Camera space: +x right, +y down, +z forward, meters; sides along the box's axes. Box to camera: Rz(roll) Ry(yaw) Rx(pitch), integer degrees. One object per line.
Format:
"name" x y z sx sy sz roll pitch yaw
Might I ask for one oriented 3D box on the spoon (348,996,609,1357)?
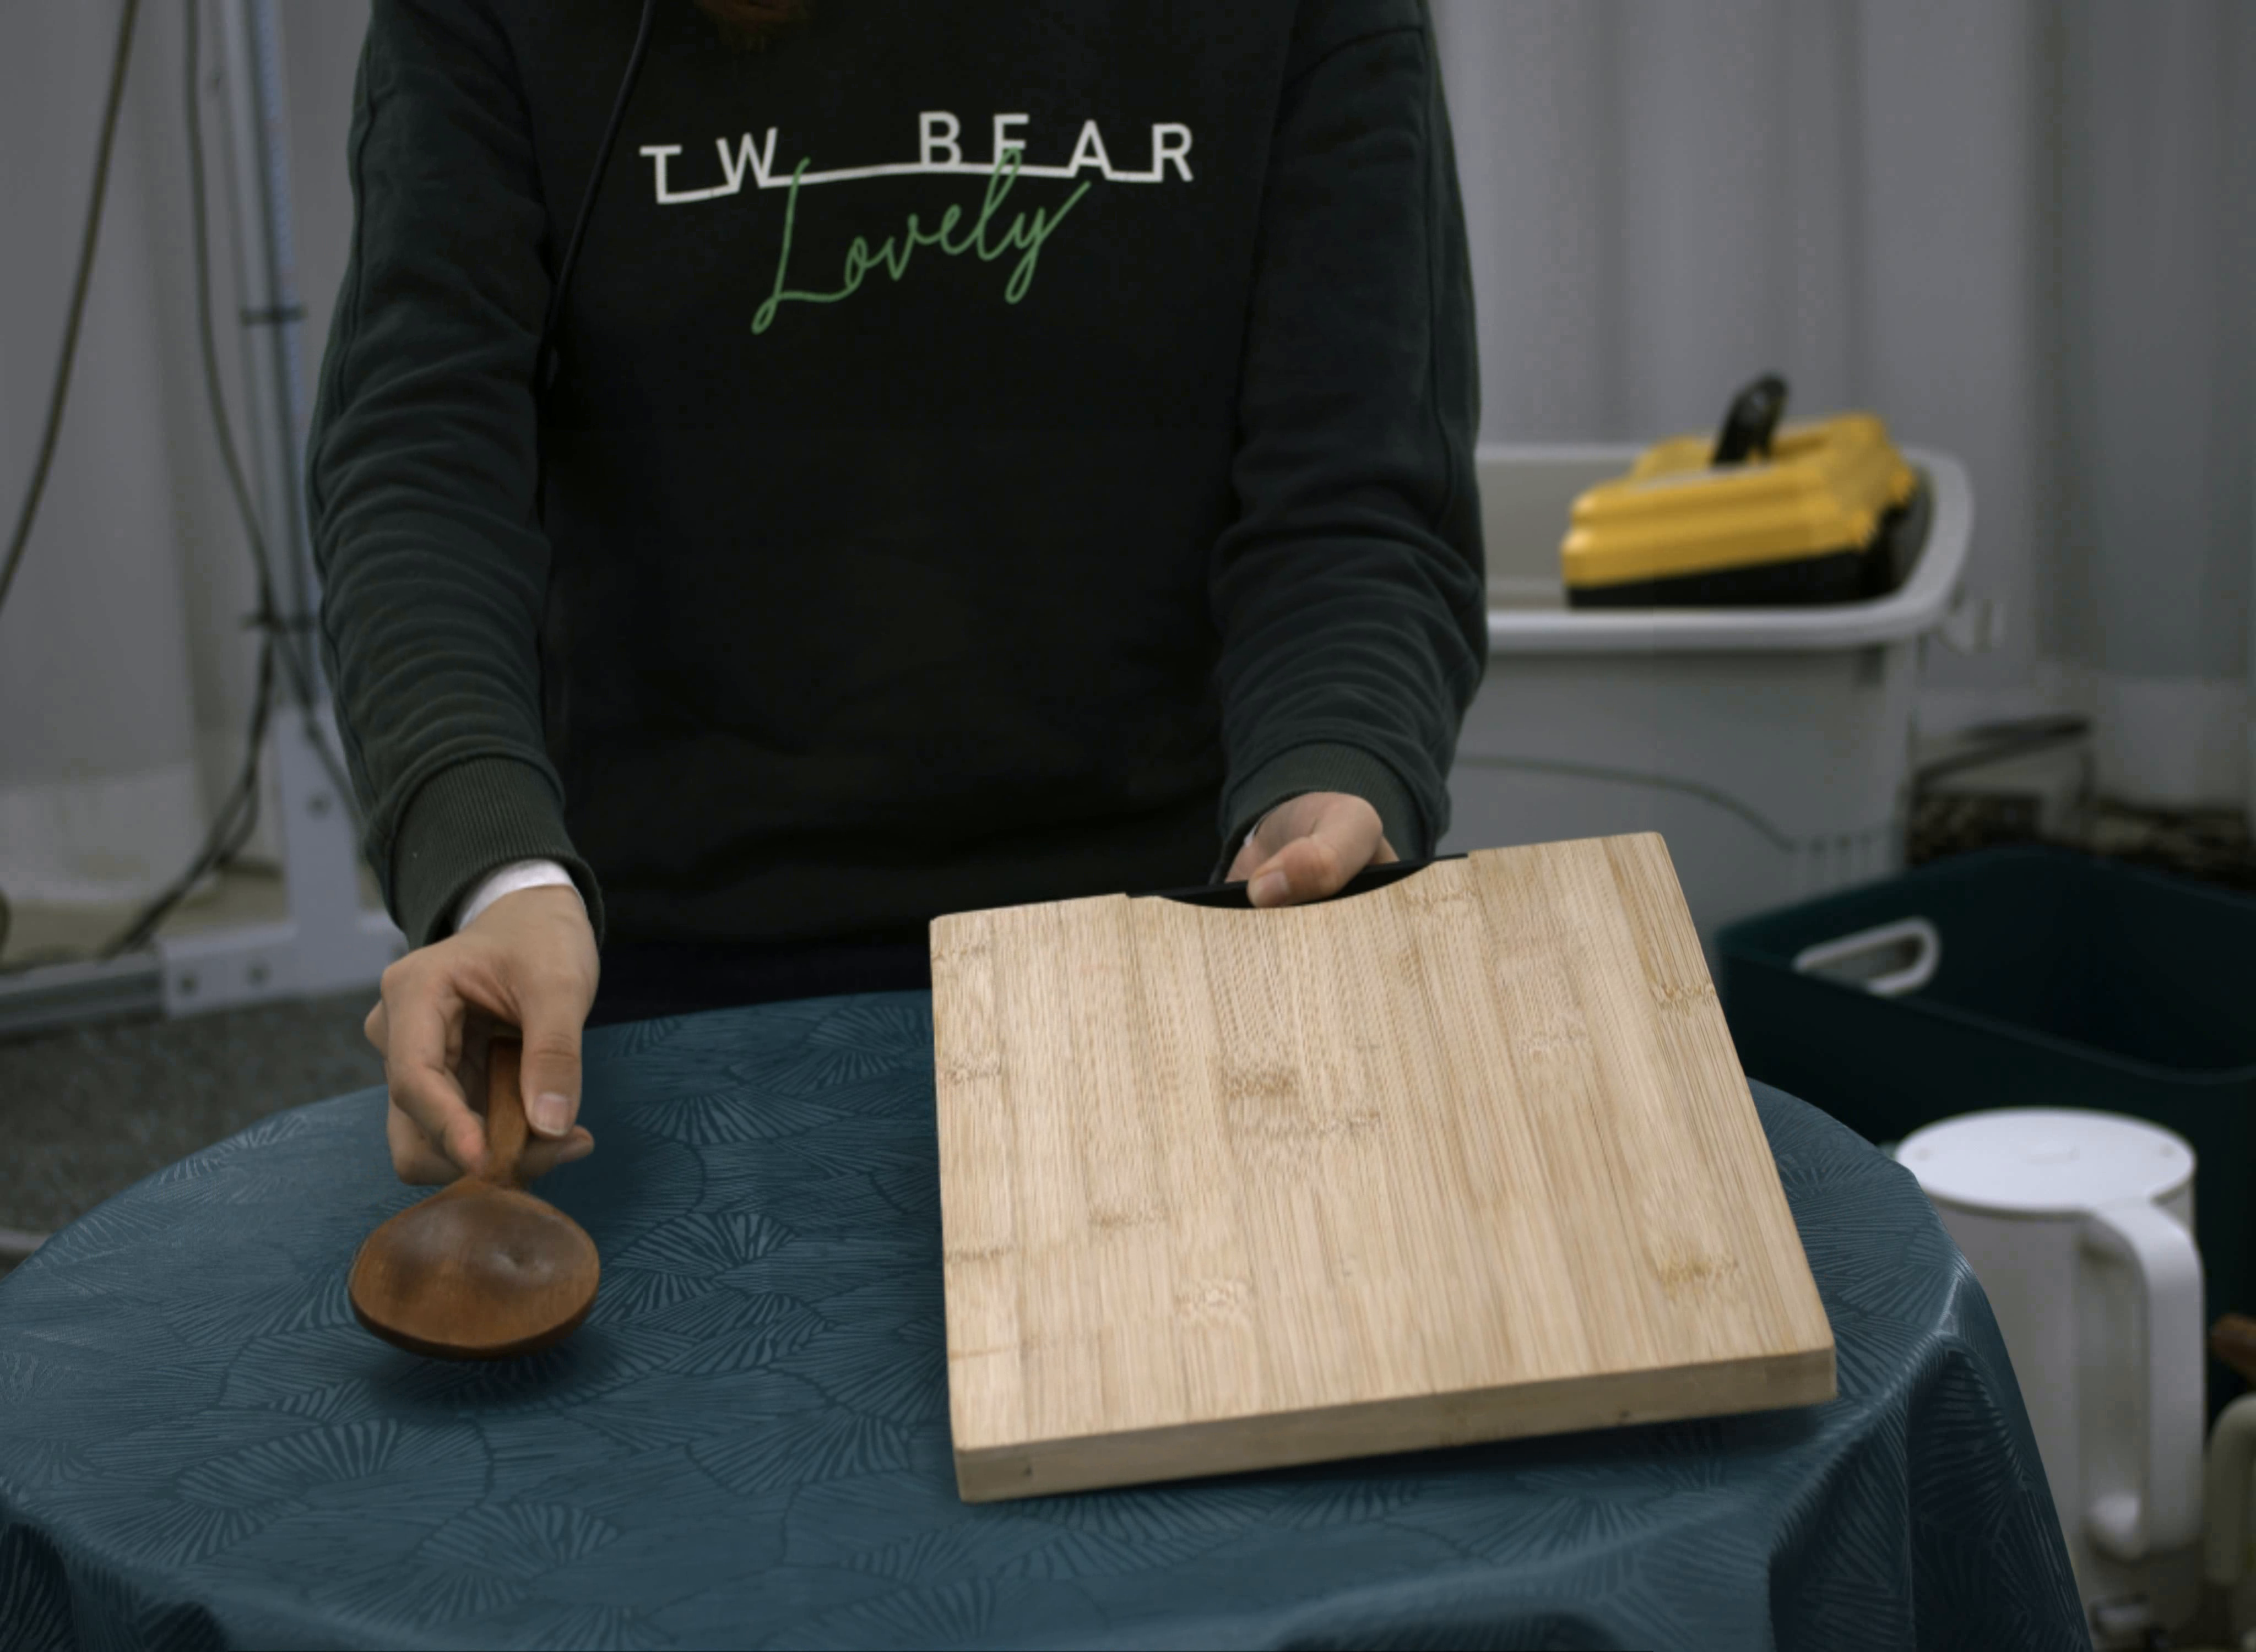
"spoon" -0.189 0.106 1.650 0.075 0.017 0.218 1 25 0

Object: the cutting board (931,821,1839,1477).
"cutting board" 0.064 0.090 1.627 0.250 0.023 0.352 -7 24 -1
